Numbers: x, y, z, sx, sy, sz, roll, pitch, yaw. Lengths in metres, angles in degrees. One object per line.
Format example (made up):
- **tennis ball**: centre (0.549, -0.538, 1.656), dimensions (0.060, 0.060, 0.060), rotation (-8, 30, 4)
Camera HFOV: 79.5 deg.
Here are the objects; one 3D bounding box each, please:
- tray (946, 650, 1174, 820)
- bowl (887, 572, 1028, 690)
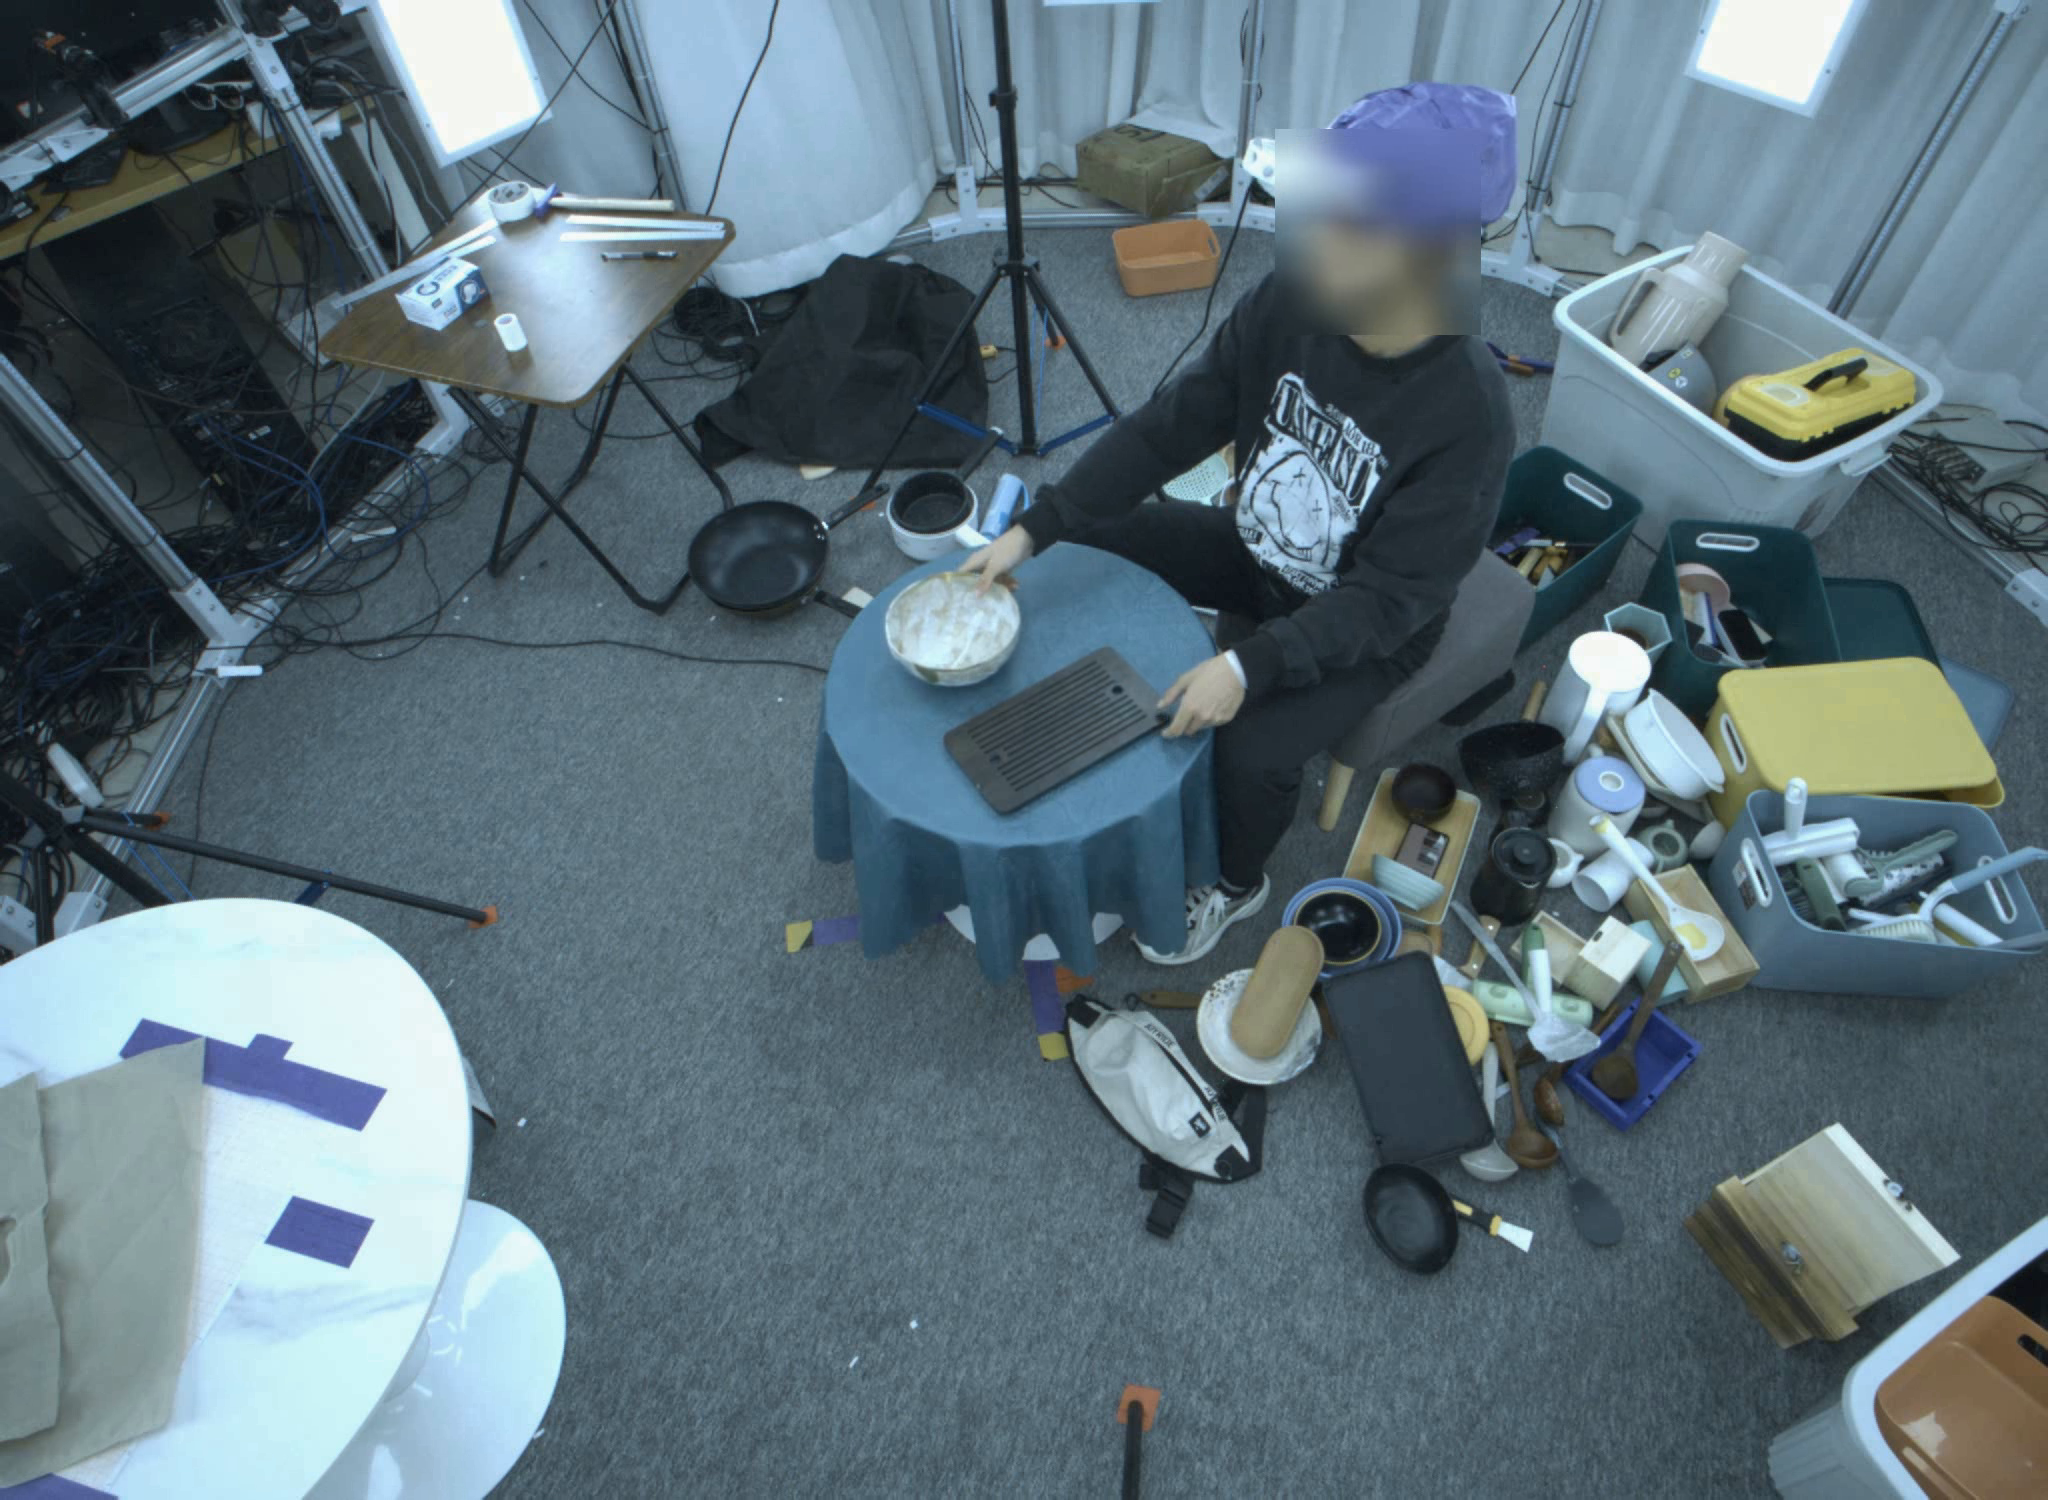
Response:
- **tray**: centre (0.054, -0.025, 1.803), dimensions (0.308, 0.019, 0.167), rotation (-30, 59, -18)
- **bowl**: centre (-0.097, -0.162, 1.858), dimensions (0.214, 0.095, 0.212), rotation (0, 53, 2)
